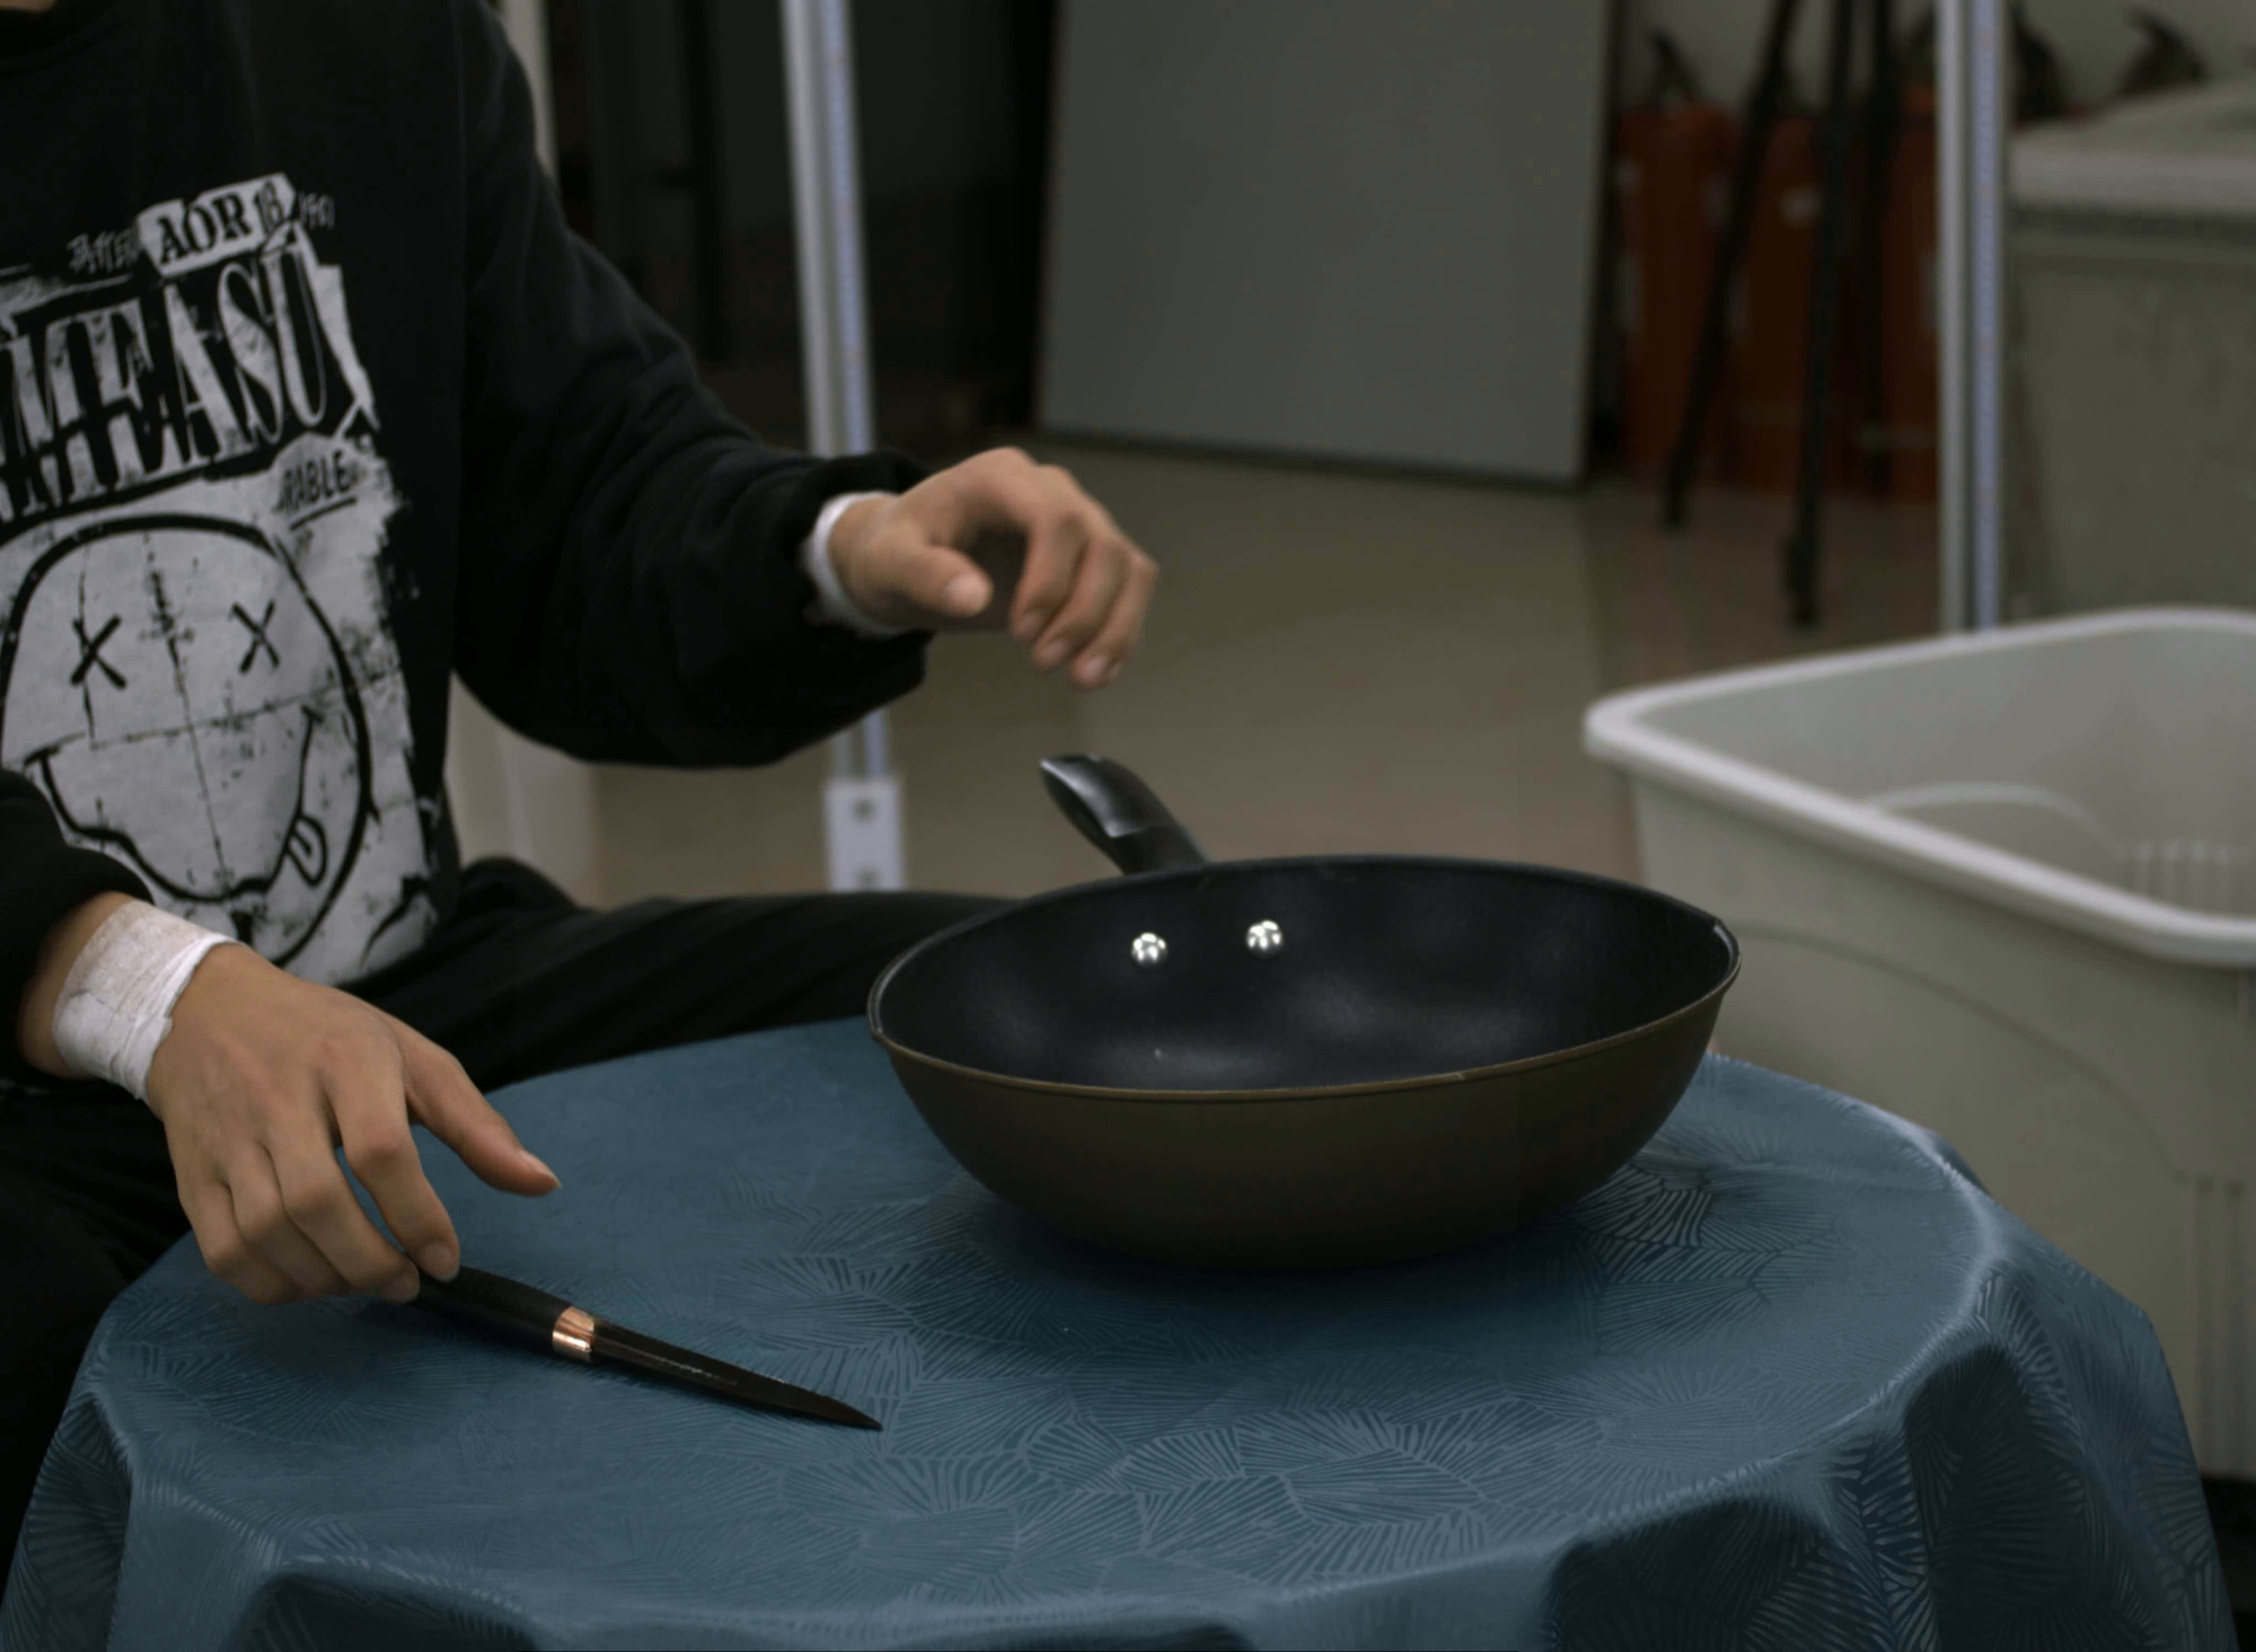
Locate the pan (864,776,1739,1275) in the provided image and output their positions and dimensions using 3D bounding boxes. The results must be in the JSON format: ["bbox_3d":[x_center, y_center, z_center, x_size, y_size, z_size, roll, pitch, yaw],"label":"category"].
[{"bbox_3d":[0.037,0.064,1.825,0.283,0.088,0.466,-7,13,-12],"label":"pan"}]

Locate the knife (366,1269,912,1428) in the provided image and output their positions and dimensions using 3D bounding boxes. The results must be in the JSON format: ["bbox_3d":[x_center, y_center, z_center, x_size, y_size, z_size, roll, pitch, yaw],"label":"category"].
[{"bbox_3d":[-0.152,0.160,1.646,0.227,0.017,0.025,9,4,41],"label":"knife"}]
